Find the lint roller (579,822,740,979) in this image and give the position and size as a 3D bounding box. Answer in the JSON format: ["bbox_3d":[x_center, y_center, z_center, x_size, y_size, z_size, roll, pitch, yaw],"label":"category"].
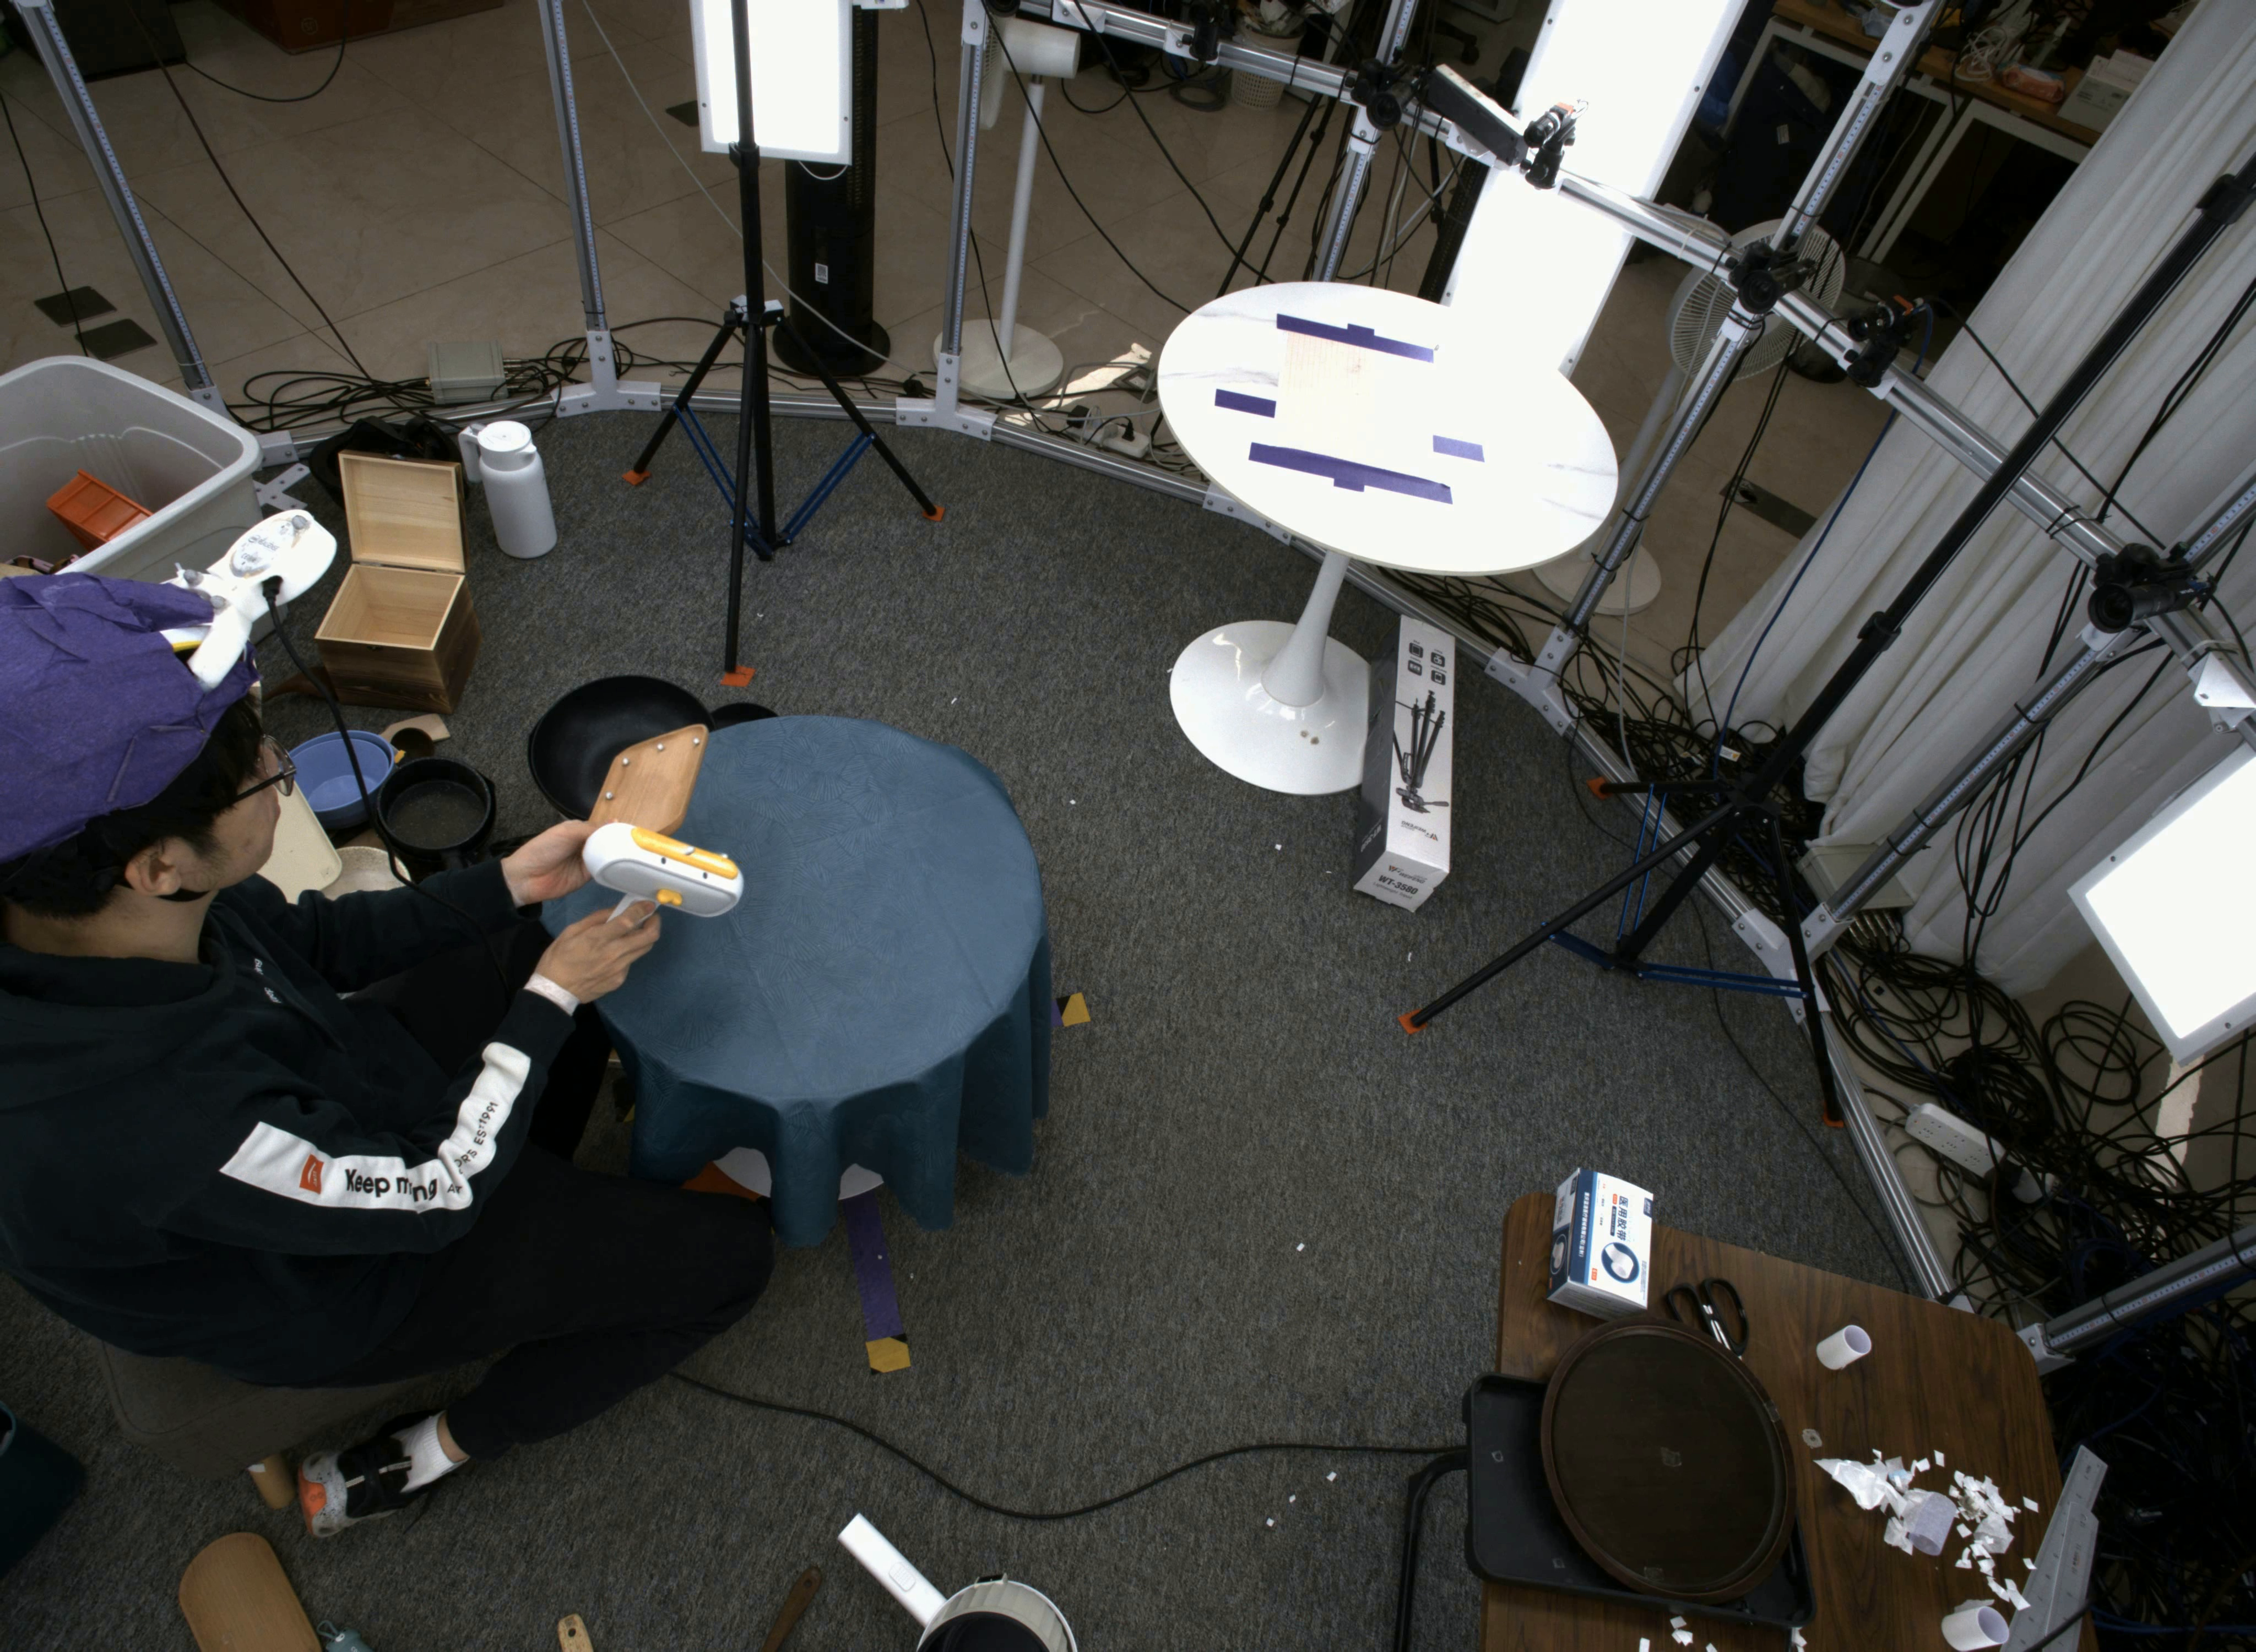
[{"bbox_3d":[-0.546,0.087,1.417,0.198,0.192,0.072,19,34,-55],"label":"lint roller"}]

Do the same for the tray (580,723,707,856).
[{"bbox_3d":[-0.562,-0.045,1.494,0.129,0.024,0.244,-20,33,5],"label":"tray"}]
